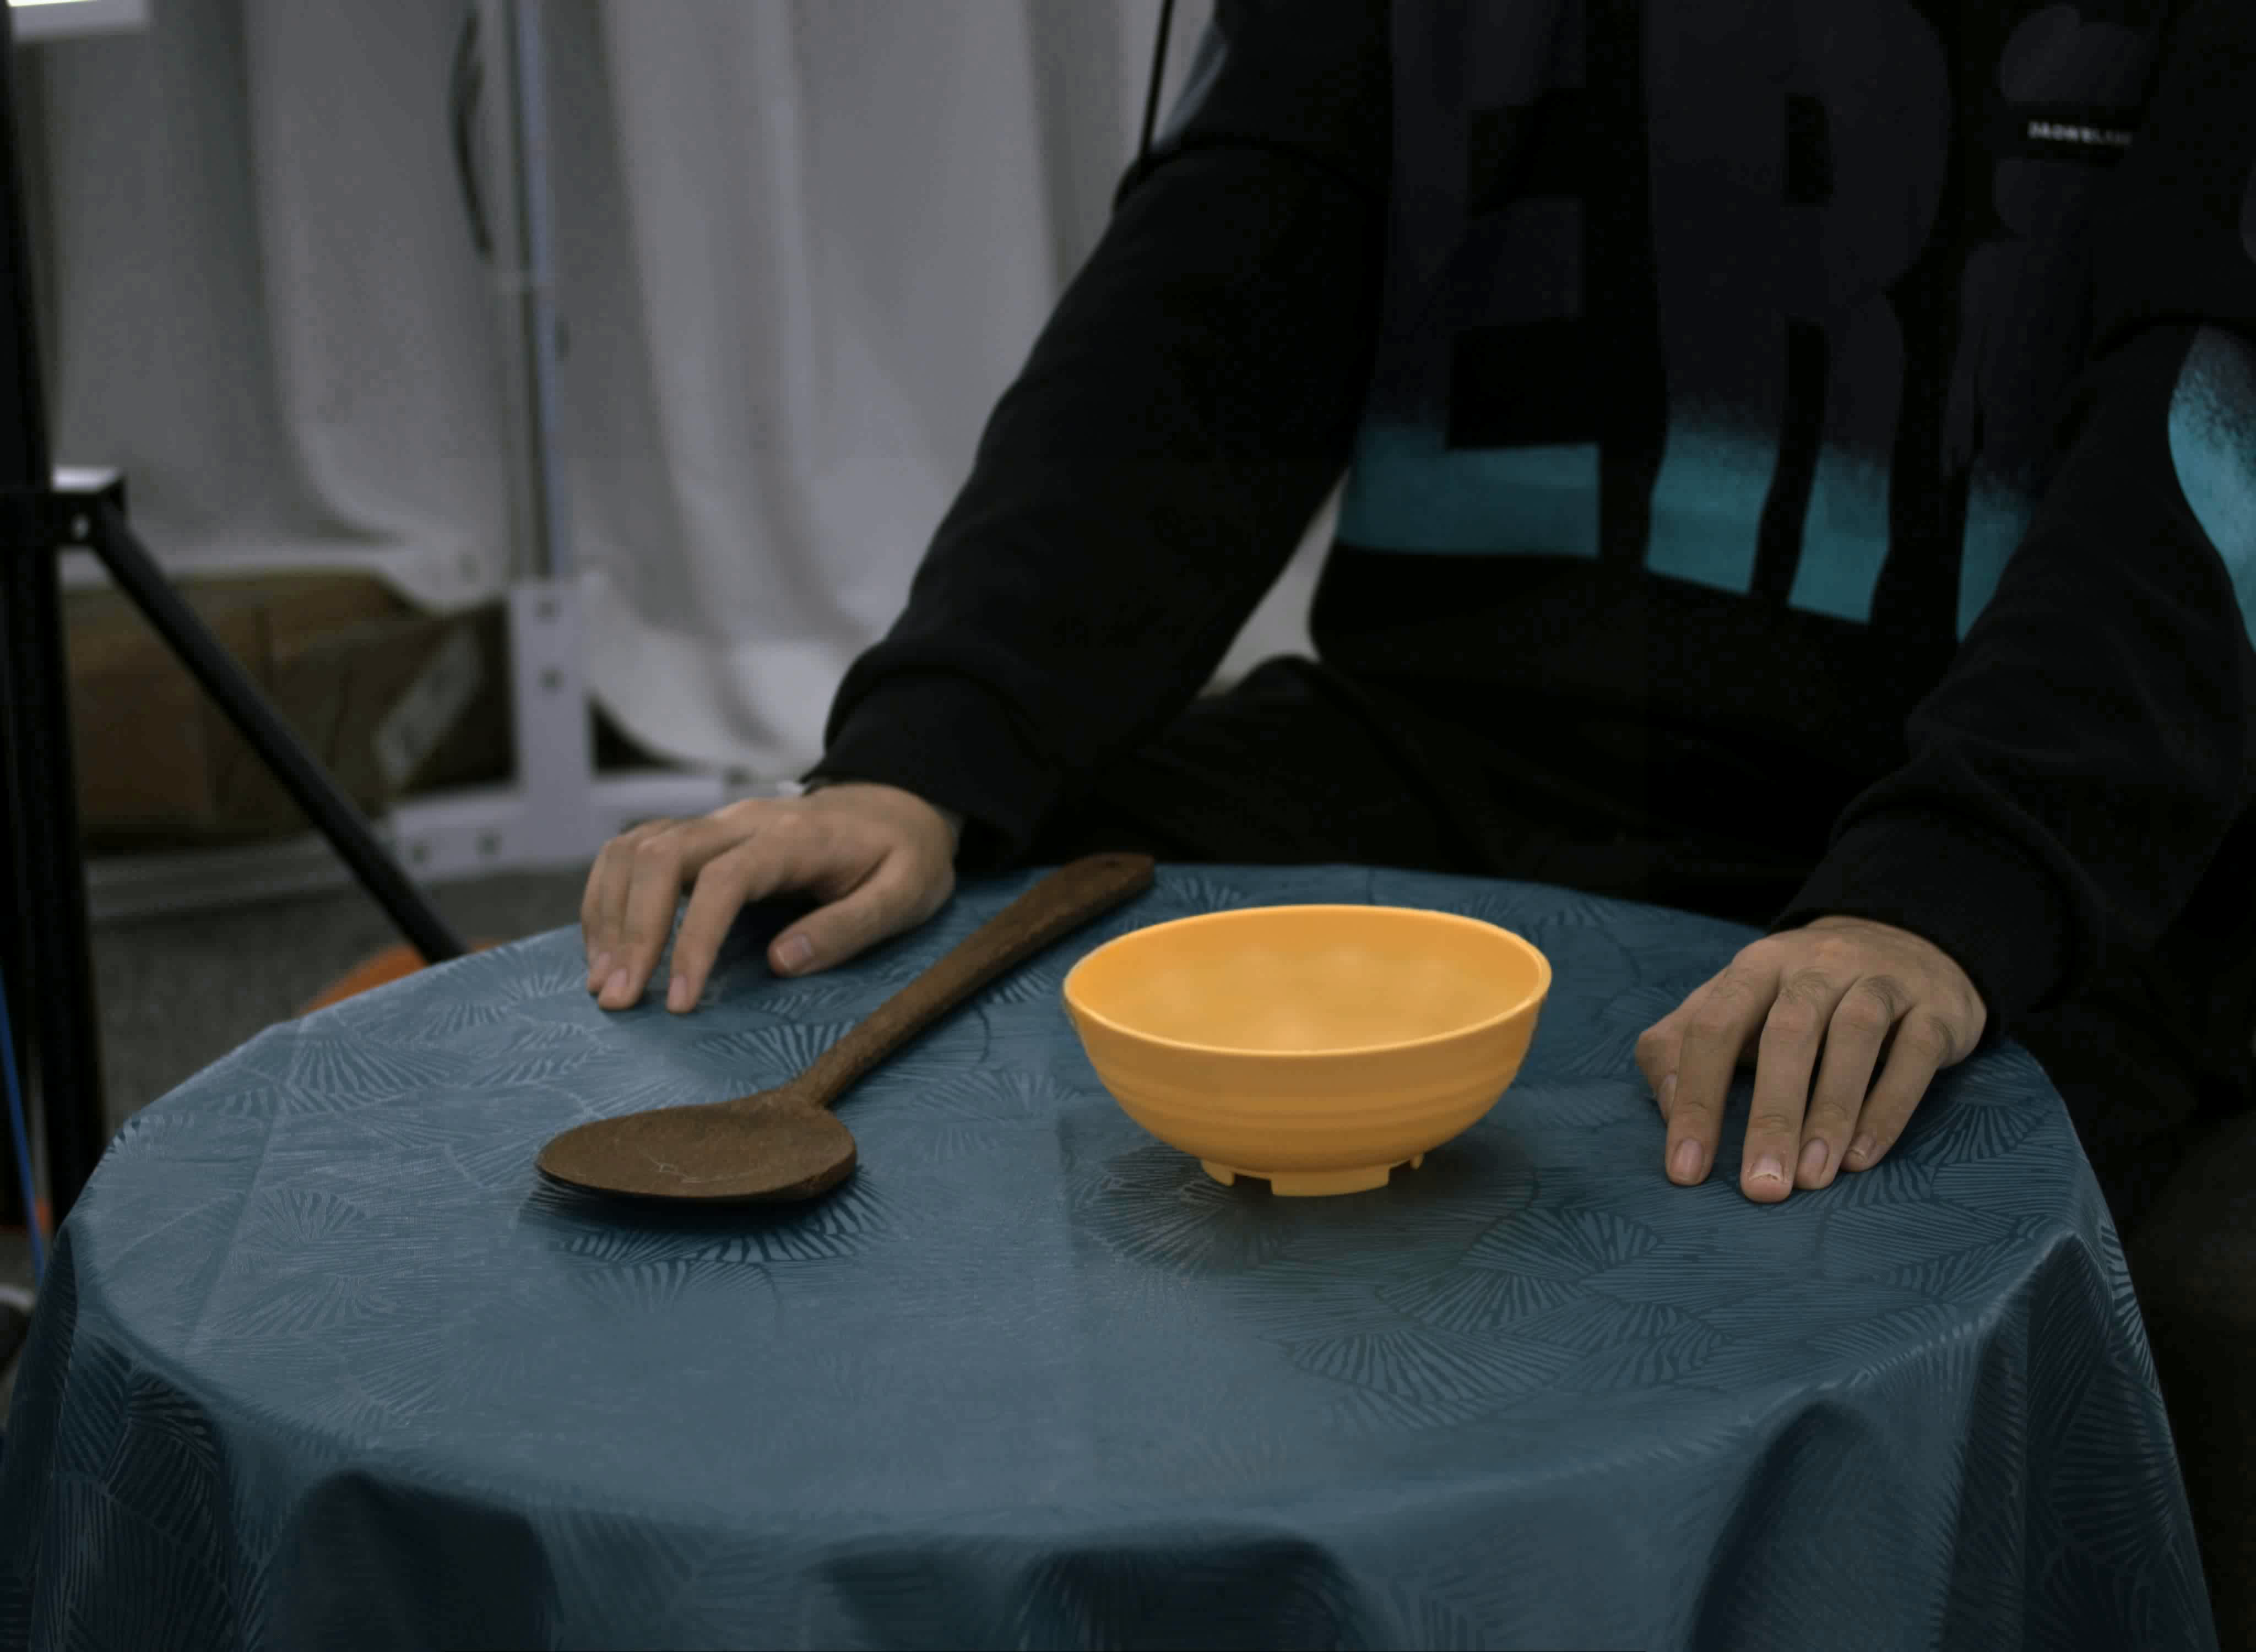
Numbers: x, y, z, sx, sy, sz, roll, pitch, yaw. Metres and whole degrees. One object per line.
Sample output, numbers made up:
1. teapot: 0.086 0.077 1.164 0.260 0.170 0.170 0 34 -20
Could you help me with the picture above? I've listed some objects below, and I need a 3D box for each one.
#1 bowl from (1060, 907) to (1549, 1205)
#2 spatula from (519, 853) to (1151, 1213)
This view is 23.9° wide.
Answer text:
1. bowl: 0.052 0.074 1.572 0.144 0.060 0.146 0 16 -1
2. spatula: -0.072 0.061 1.713 0.097 0.016 0.381 5 17 22
